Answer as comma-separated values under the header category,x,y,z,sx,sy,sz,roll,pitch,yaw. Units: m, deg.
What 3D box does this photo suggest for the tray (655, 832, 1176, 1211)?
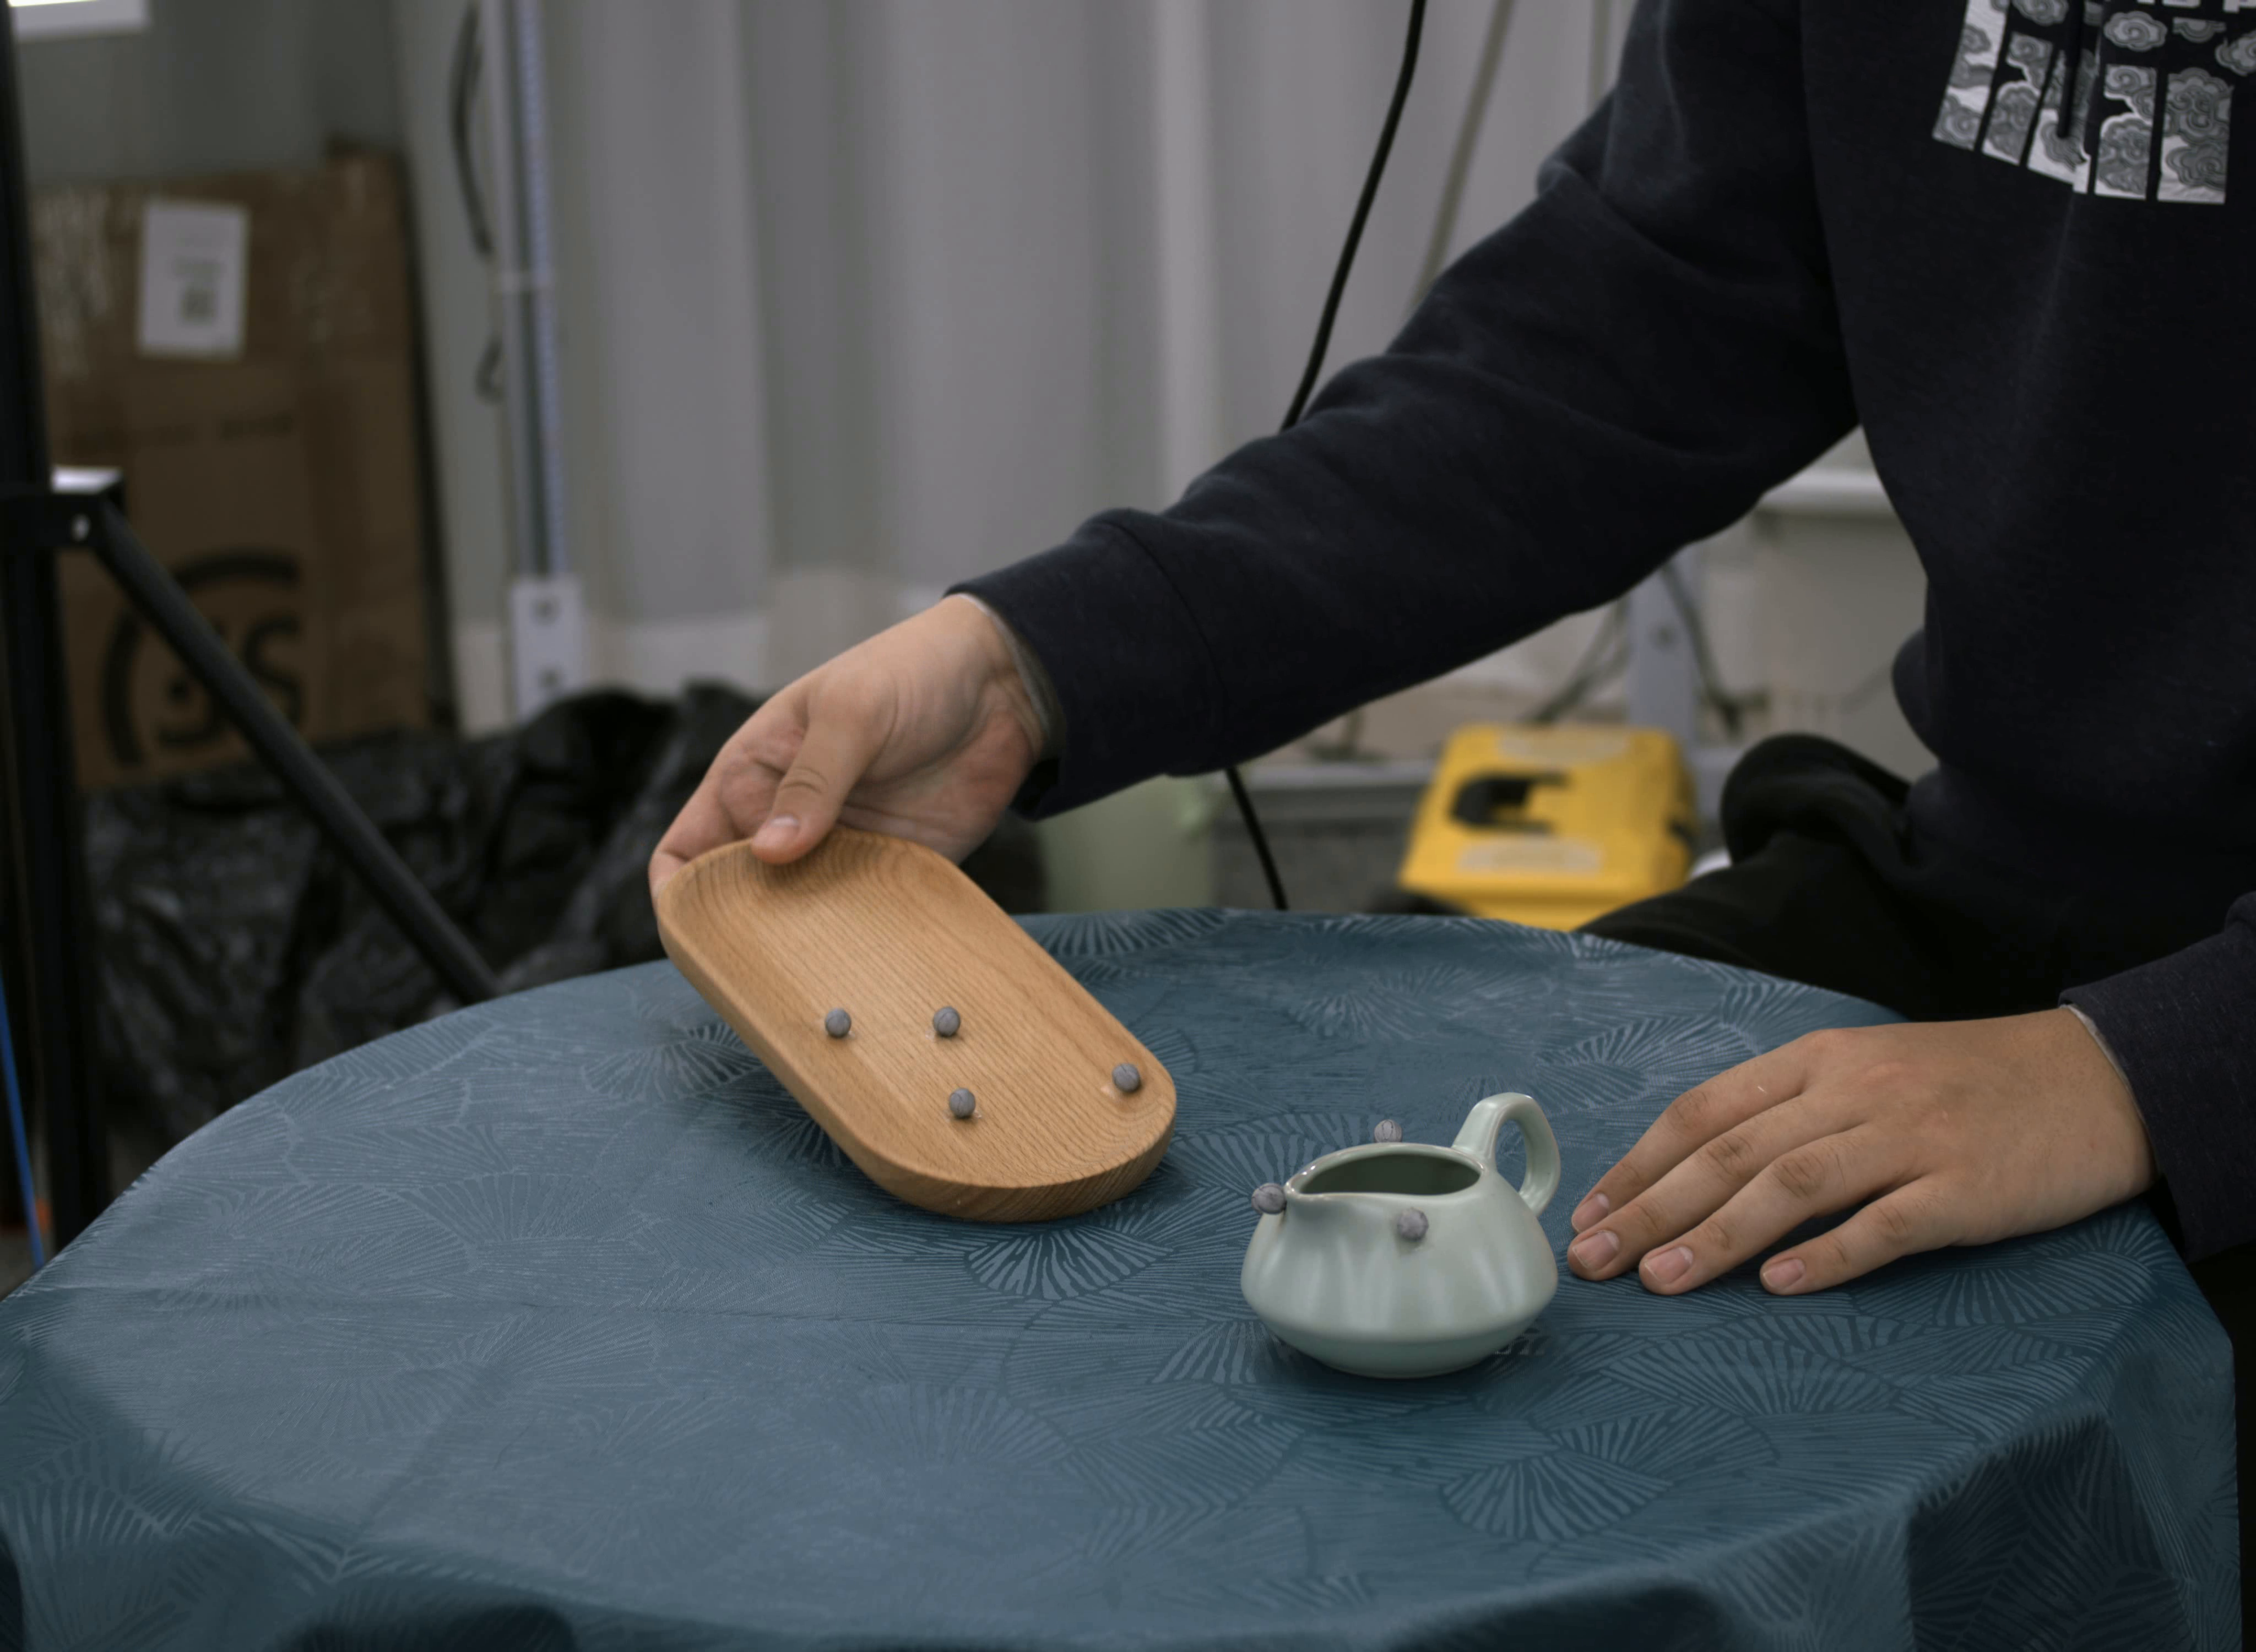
category,x,y,z,sx,sy,sz,roll,pitch,yaw
tray,-0.067,0.057,1.631,0.099,0.020,0.236,-9,27,-27

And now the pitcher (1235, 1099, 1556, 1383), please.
category,x,y,z,sx,sy,sz,roll,pitch,yaw
pitcher,0.080,0.112,1.431,0.088,0.060,0.105,13,19,40
